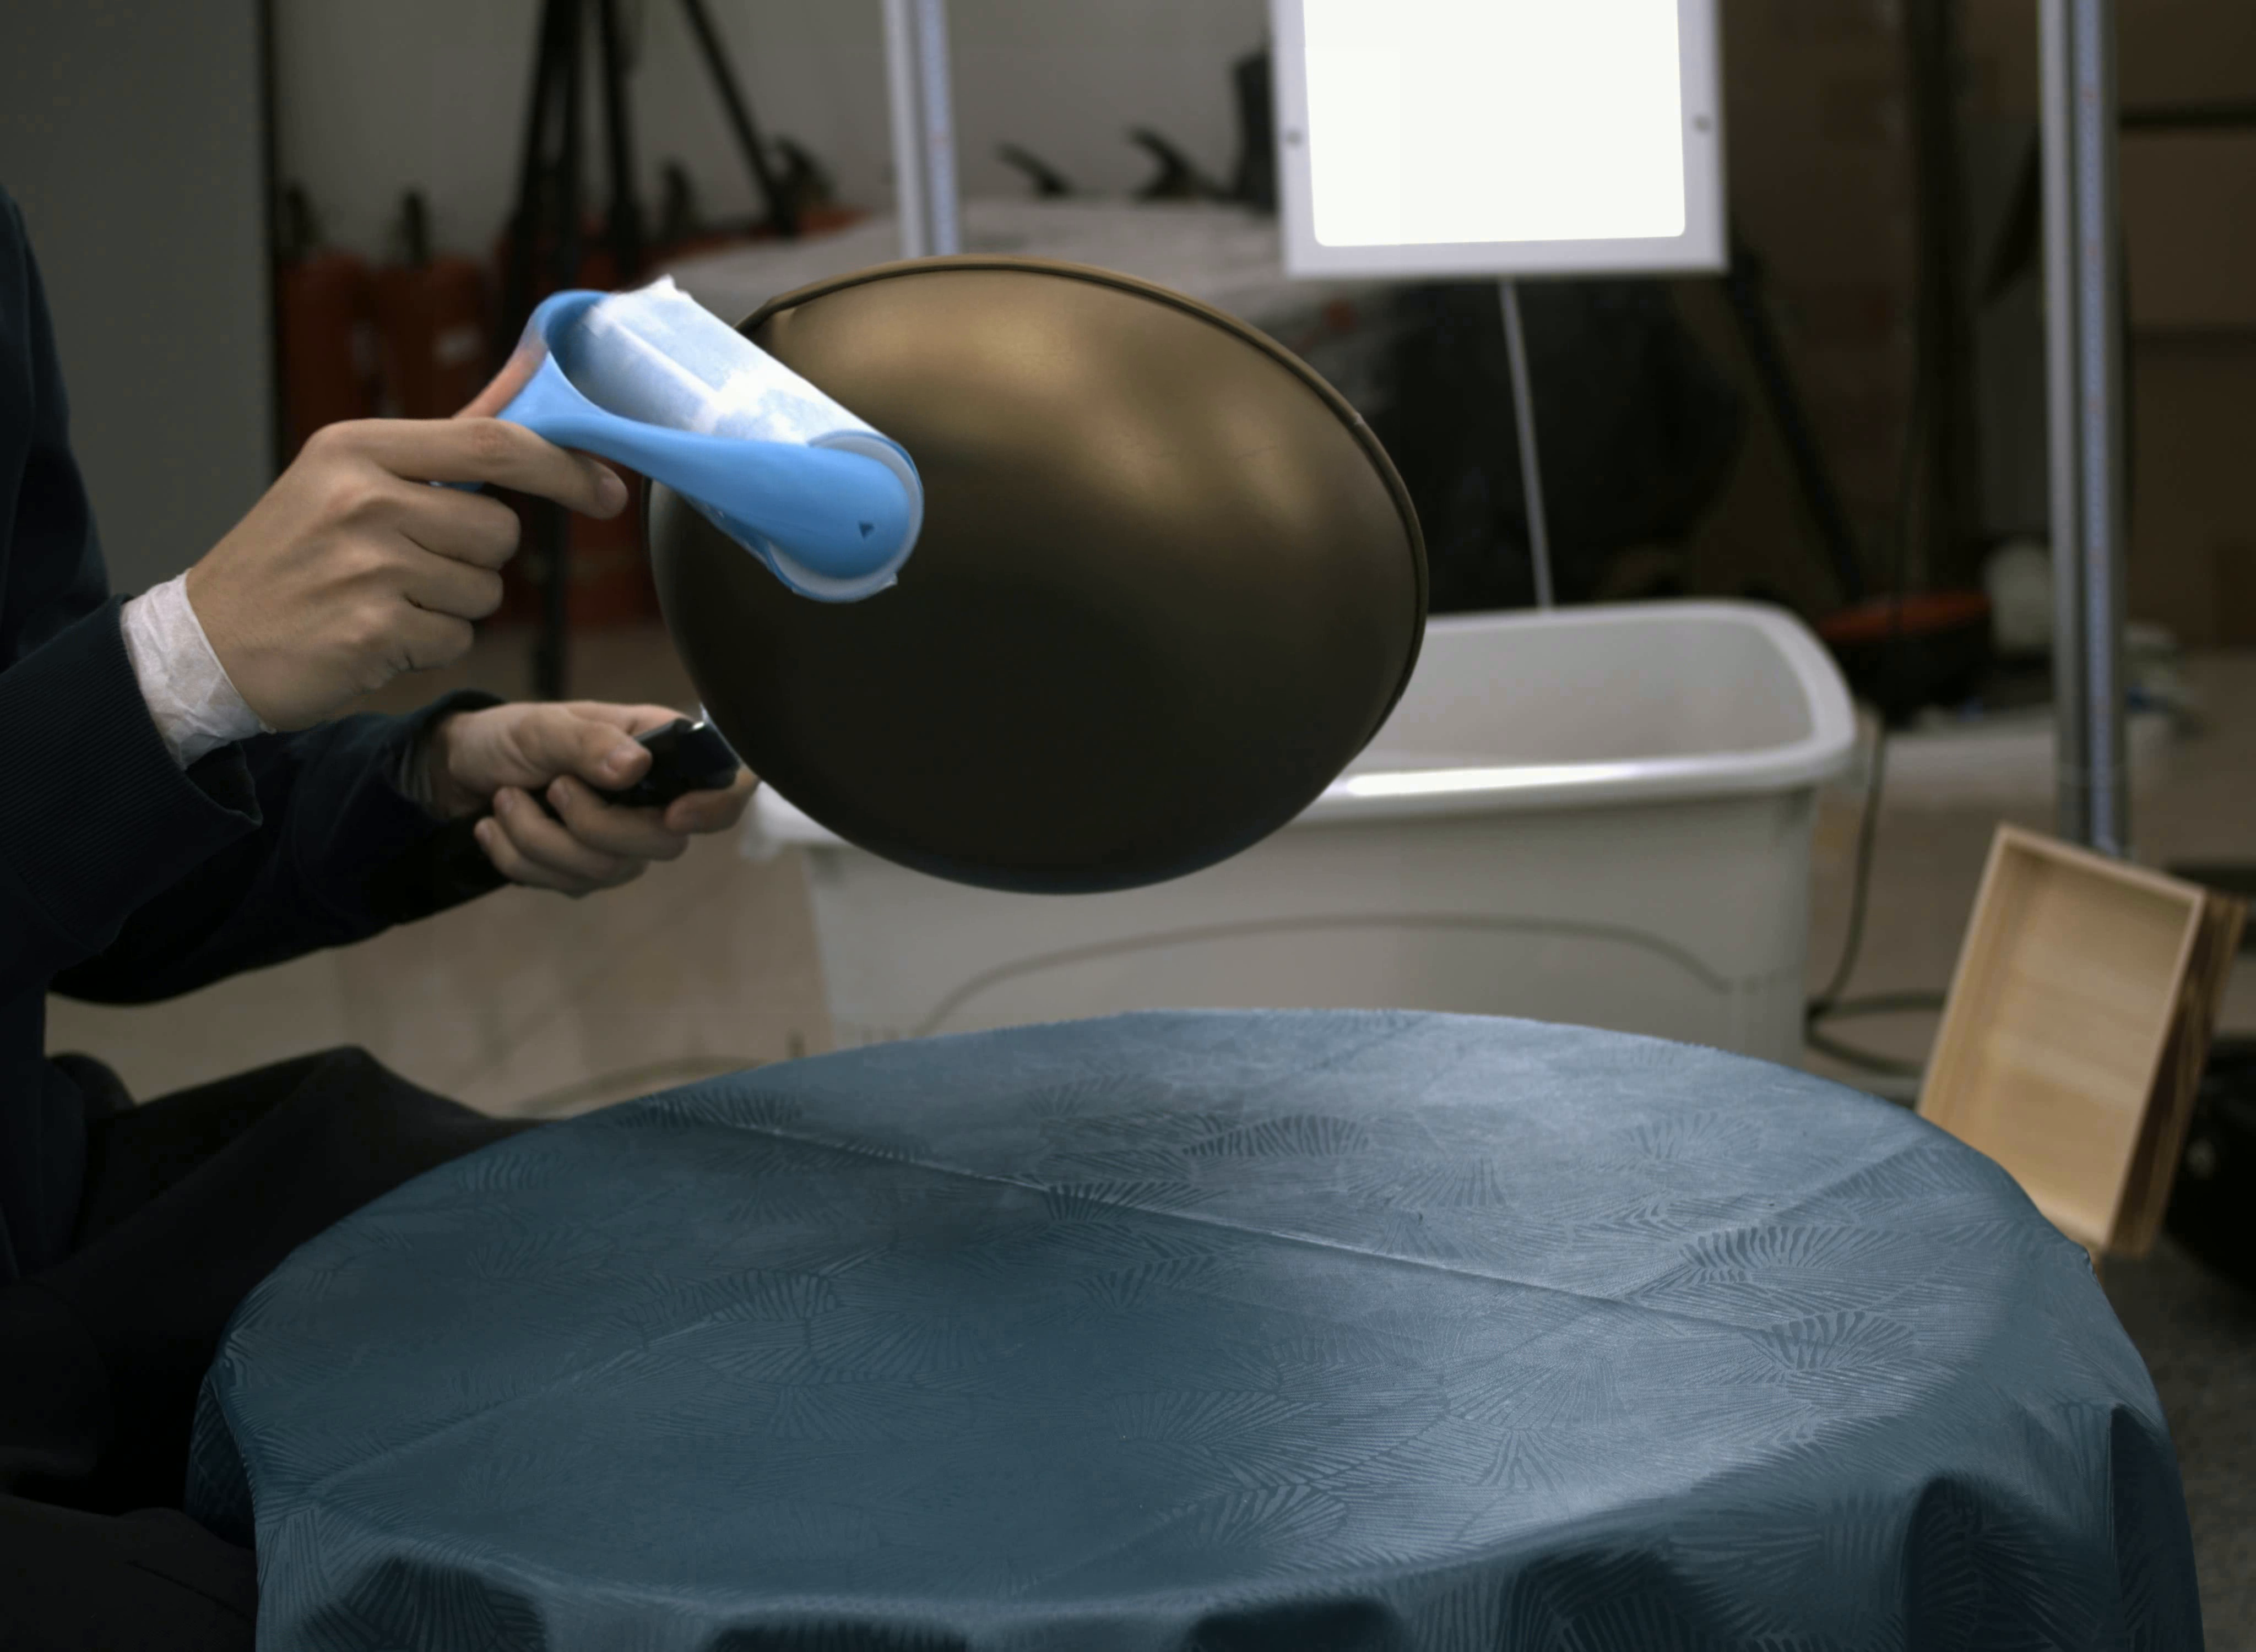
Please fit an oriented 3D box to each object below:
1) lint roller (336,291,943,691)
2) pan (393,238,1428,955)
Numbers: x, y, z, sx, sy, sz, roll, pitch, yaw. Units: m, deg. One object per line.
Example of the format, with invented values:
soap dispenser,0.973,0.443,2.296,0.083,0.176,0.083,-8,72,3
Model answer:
lint roller,-0.172,-0.103,1.734,0.177,0.068,0.232,-24,27,-18
pan,-0.108,-0.032,1.951,0.473,0.284,0.086,-27,33,33
